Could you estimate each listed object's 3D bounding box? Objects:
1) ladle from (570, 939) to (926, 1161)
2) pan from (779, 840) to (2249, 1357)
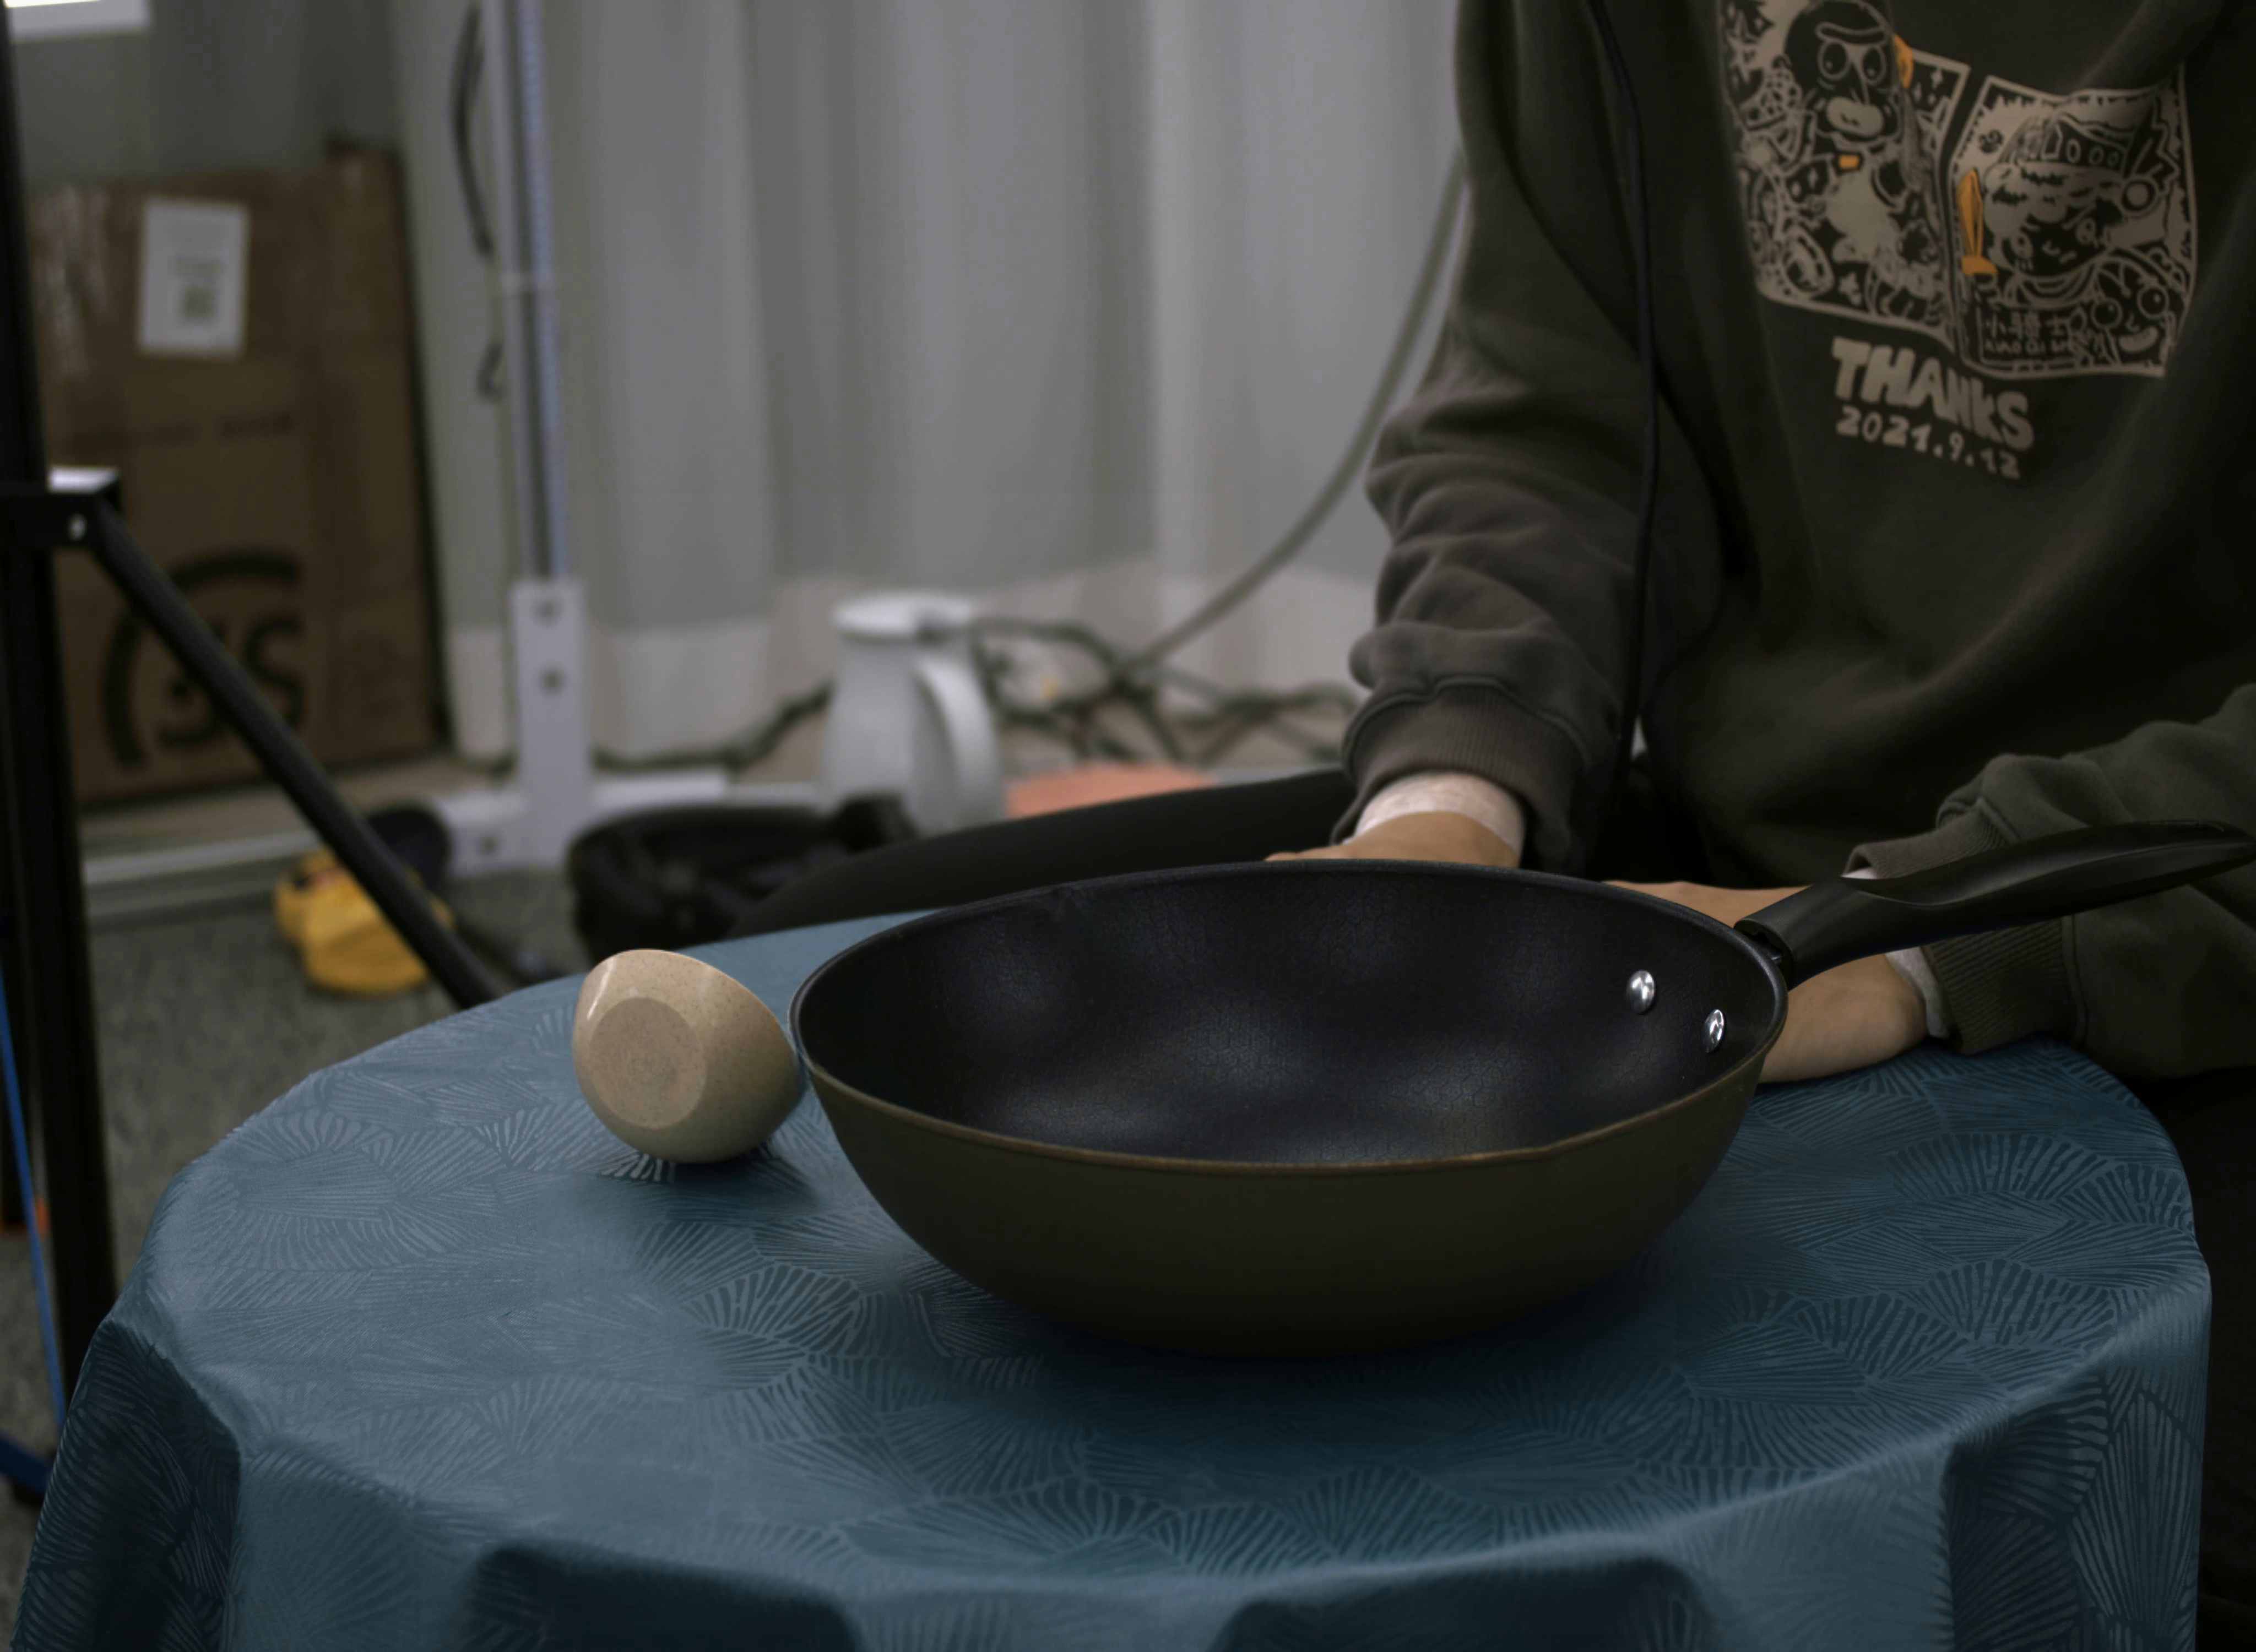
[{"bbox_3d":[-0.100,0.040,1.689,0.073,0.073,0.251,-2,15,21],"label":"ladle"},{"bbox_3d":[0.125,0.071,1.520,0.454,0.087,0.294,-8,16,-23],"label":"pan"}]
